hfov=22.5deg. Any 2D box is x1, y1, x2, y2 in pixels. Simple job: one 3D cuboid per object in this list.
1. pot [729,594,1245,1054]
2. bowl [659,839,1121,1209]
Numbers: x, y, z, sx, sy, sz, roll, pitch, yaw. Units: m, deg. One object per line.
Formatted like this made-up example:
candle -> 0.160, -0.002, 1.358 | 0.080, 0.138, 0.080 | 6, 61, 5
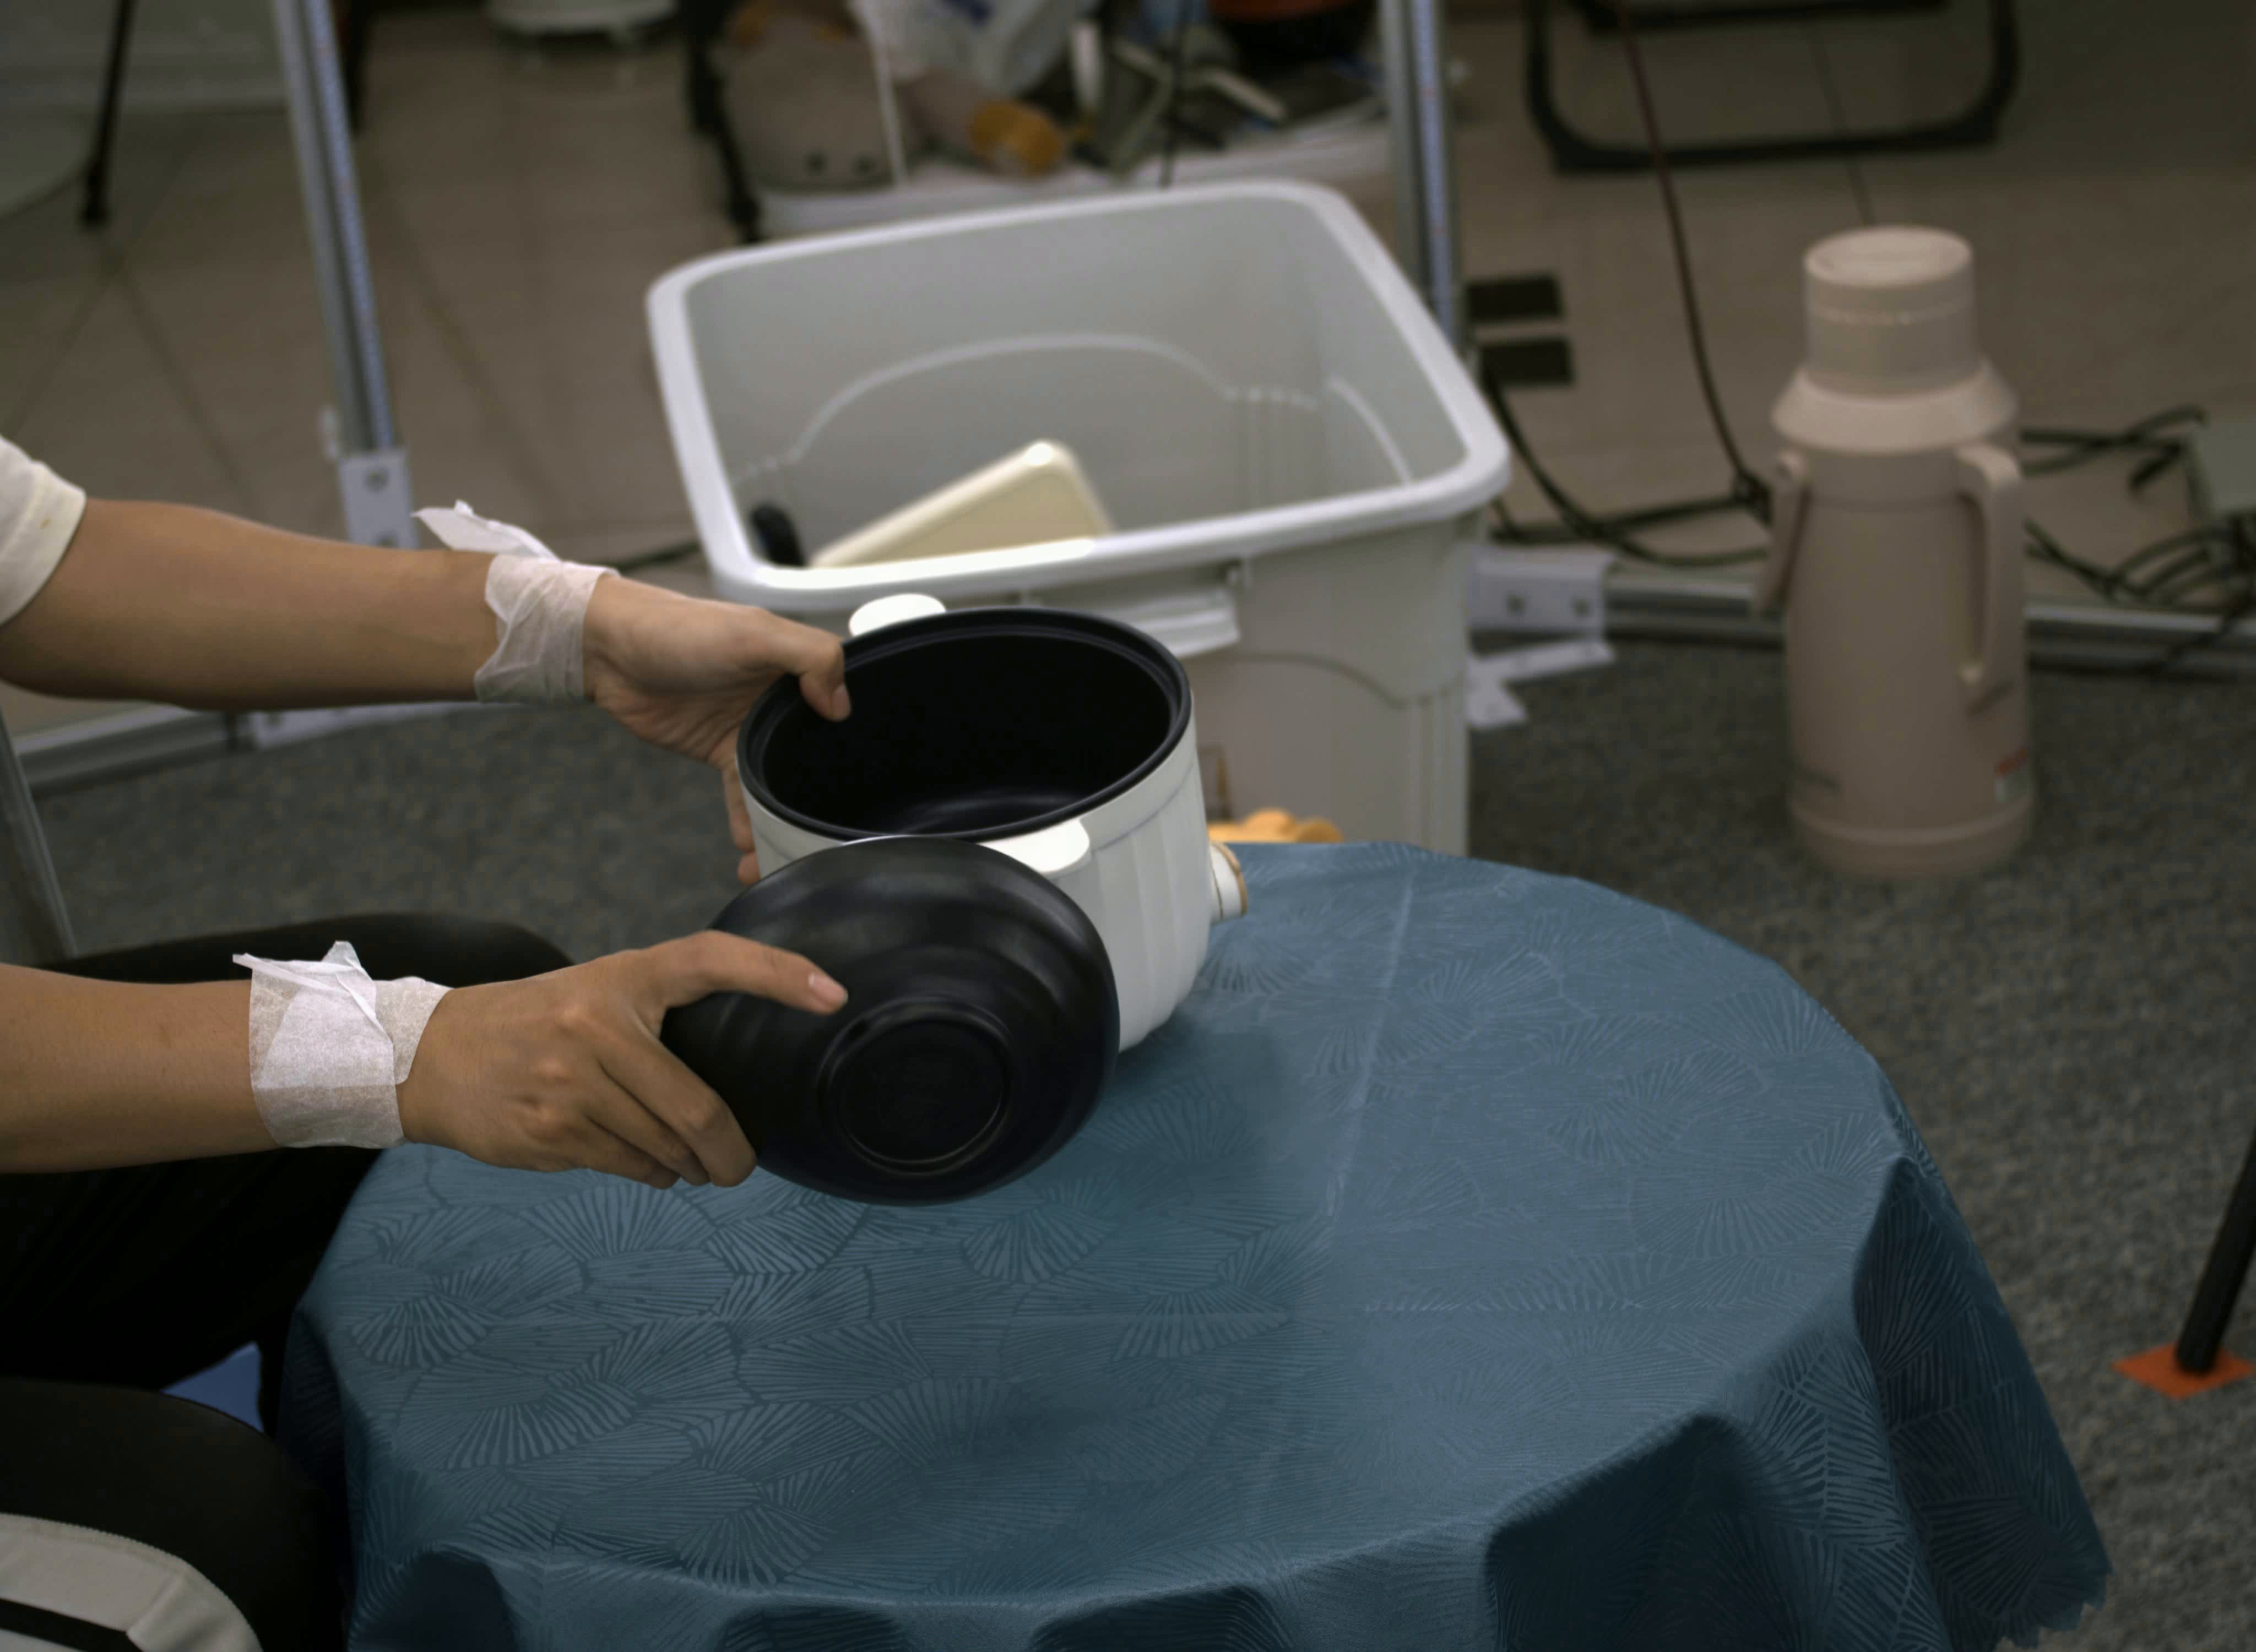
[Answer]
pot -> -0.053, 0.011, 2.255 | 0.190, 0.145, 0.236 | -18, 34, -10
bowl -> -0.075, 0.078, 1.954 | 0.170, 0.139, 0.066 | 12, 23, -24
